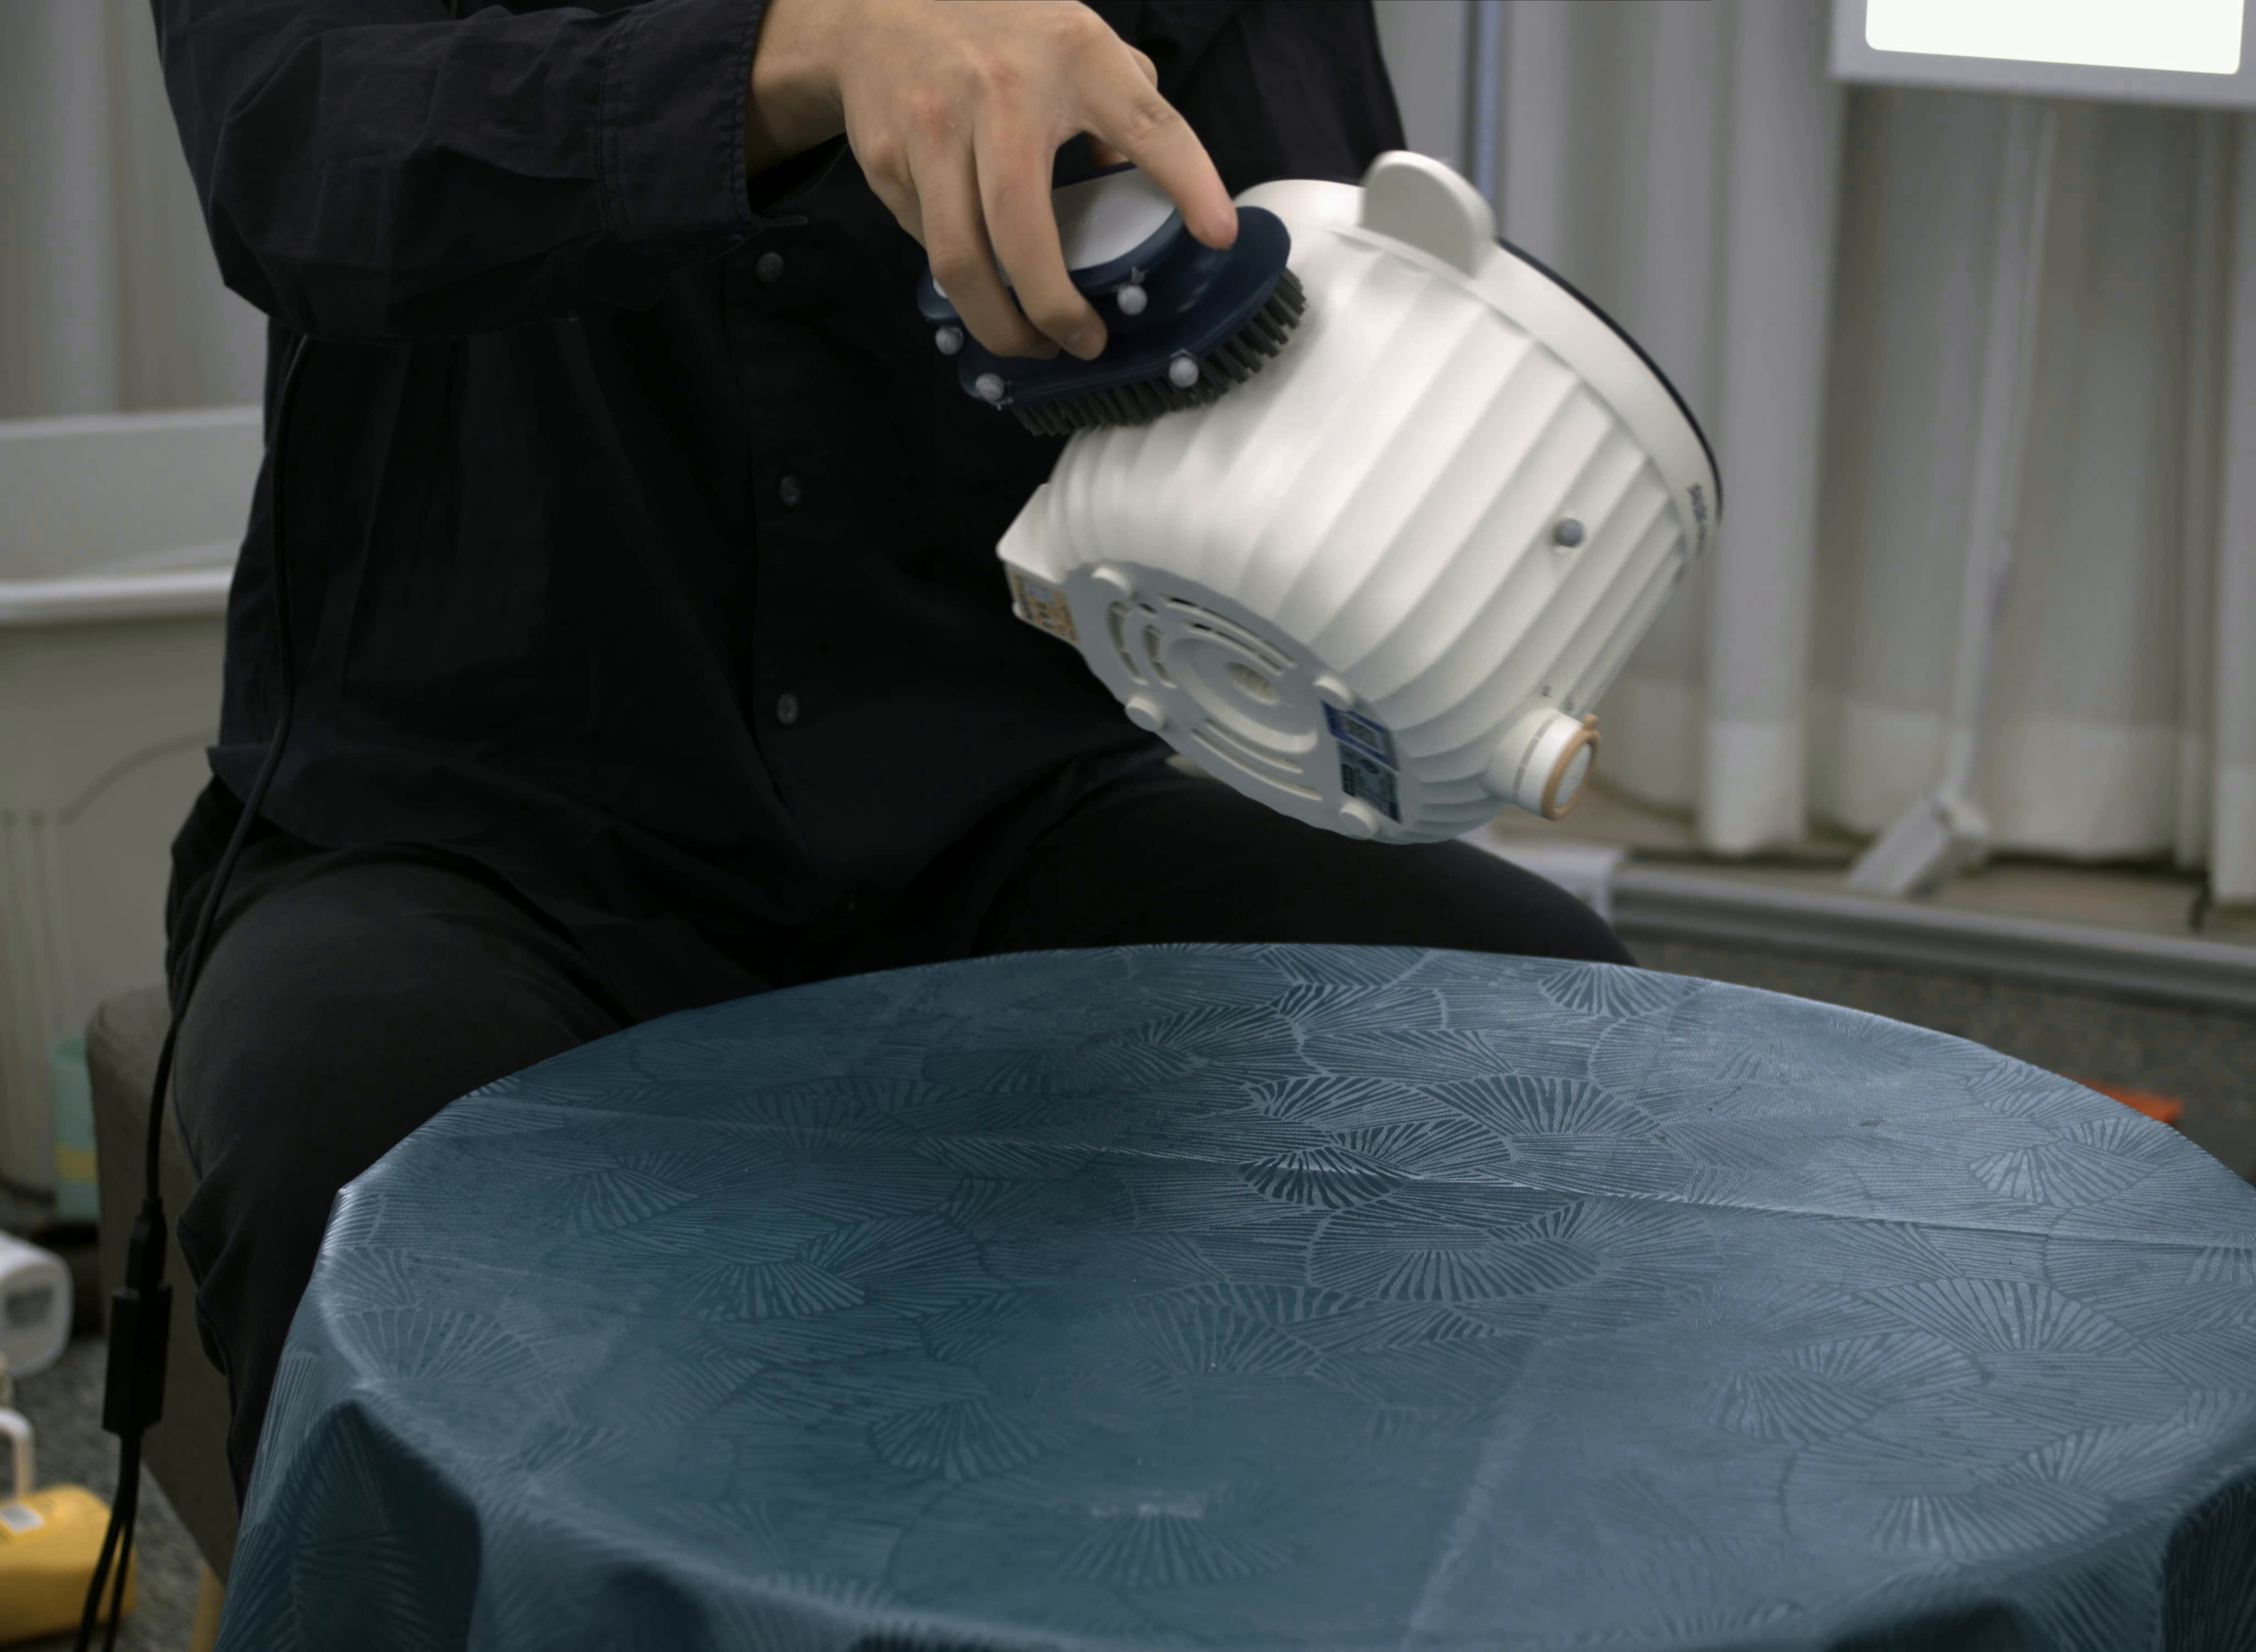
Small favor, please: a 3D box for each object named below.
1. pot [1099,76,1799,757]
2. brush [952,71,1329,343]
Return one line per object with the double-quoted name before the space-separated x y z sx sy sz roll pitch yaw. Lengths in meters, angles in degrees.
"pot" 0.103 -0.112 1.642 0.189 0.243 0.142 25 69 18
"brush" 0.005 -0.183 1.579 0.120 0.062 0.068 0 51 44
